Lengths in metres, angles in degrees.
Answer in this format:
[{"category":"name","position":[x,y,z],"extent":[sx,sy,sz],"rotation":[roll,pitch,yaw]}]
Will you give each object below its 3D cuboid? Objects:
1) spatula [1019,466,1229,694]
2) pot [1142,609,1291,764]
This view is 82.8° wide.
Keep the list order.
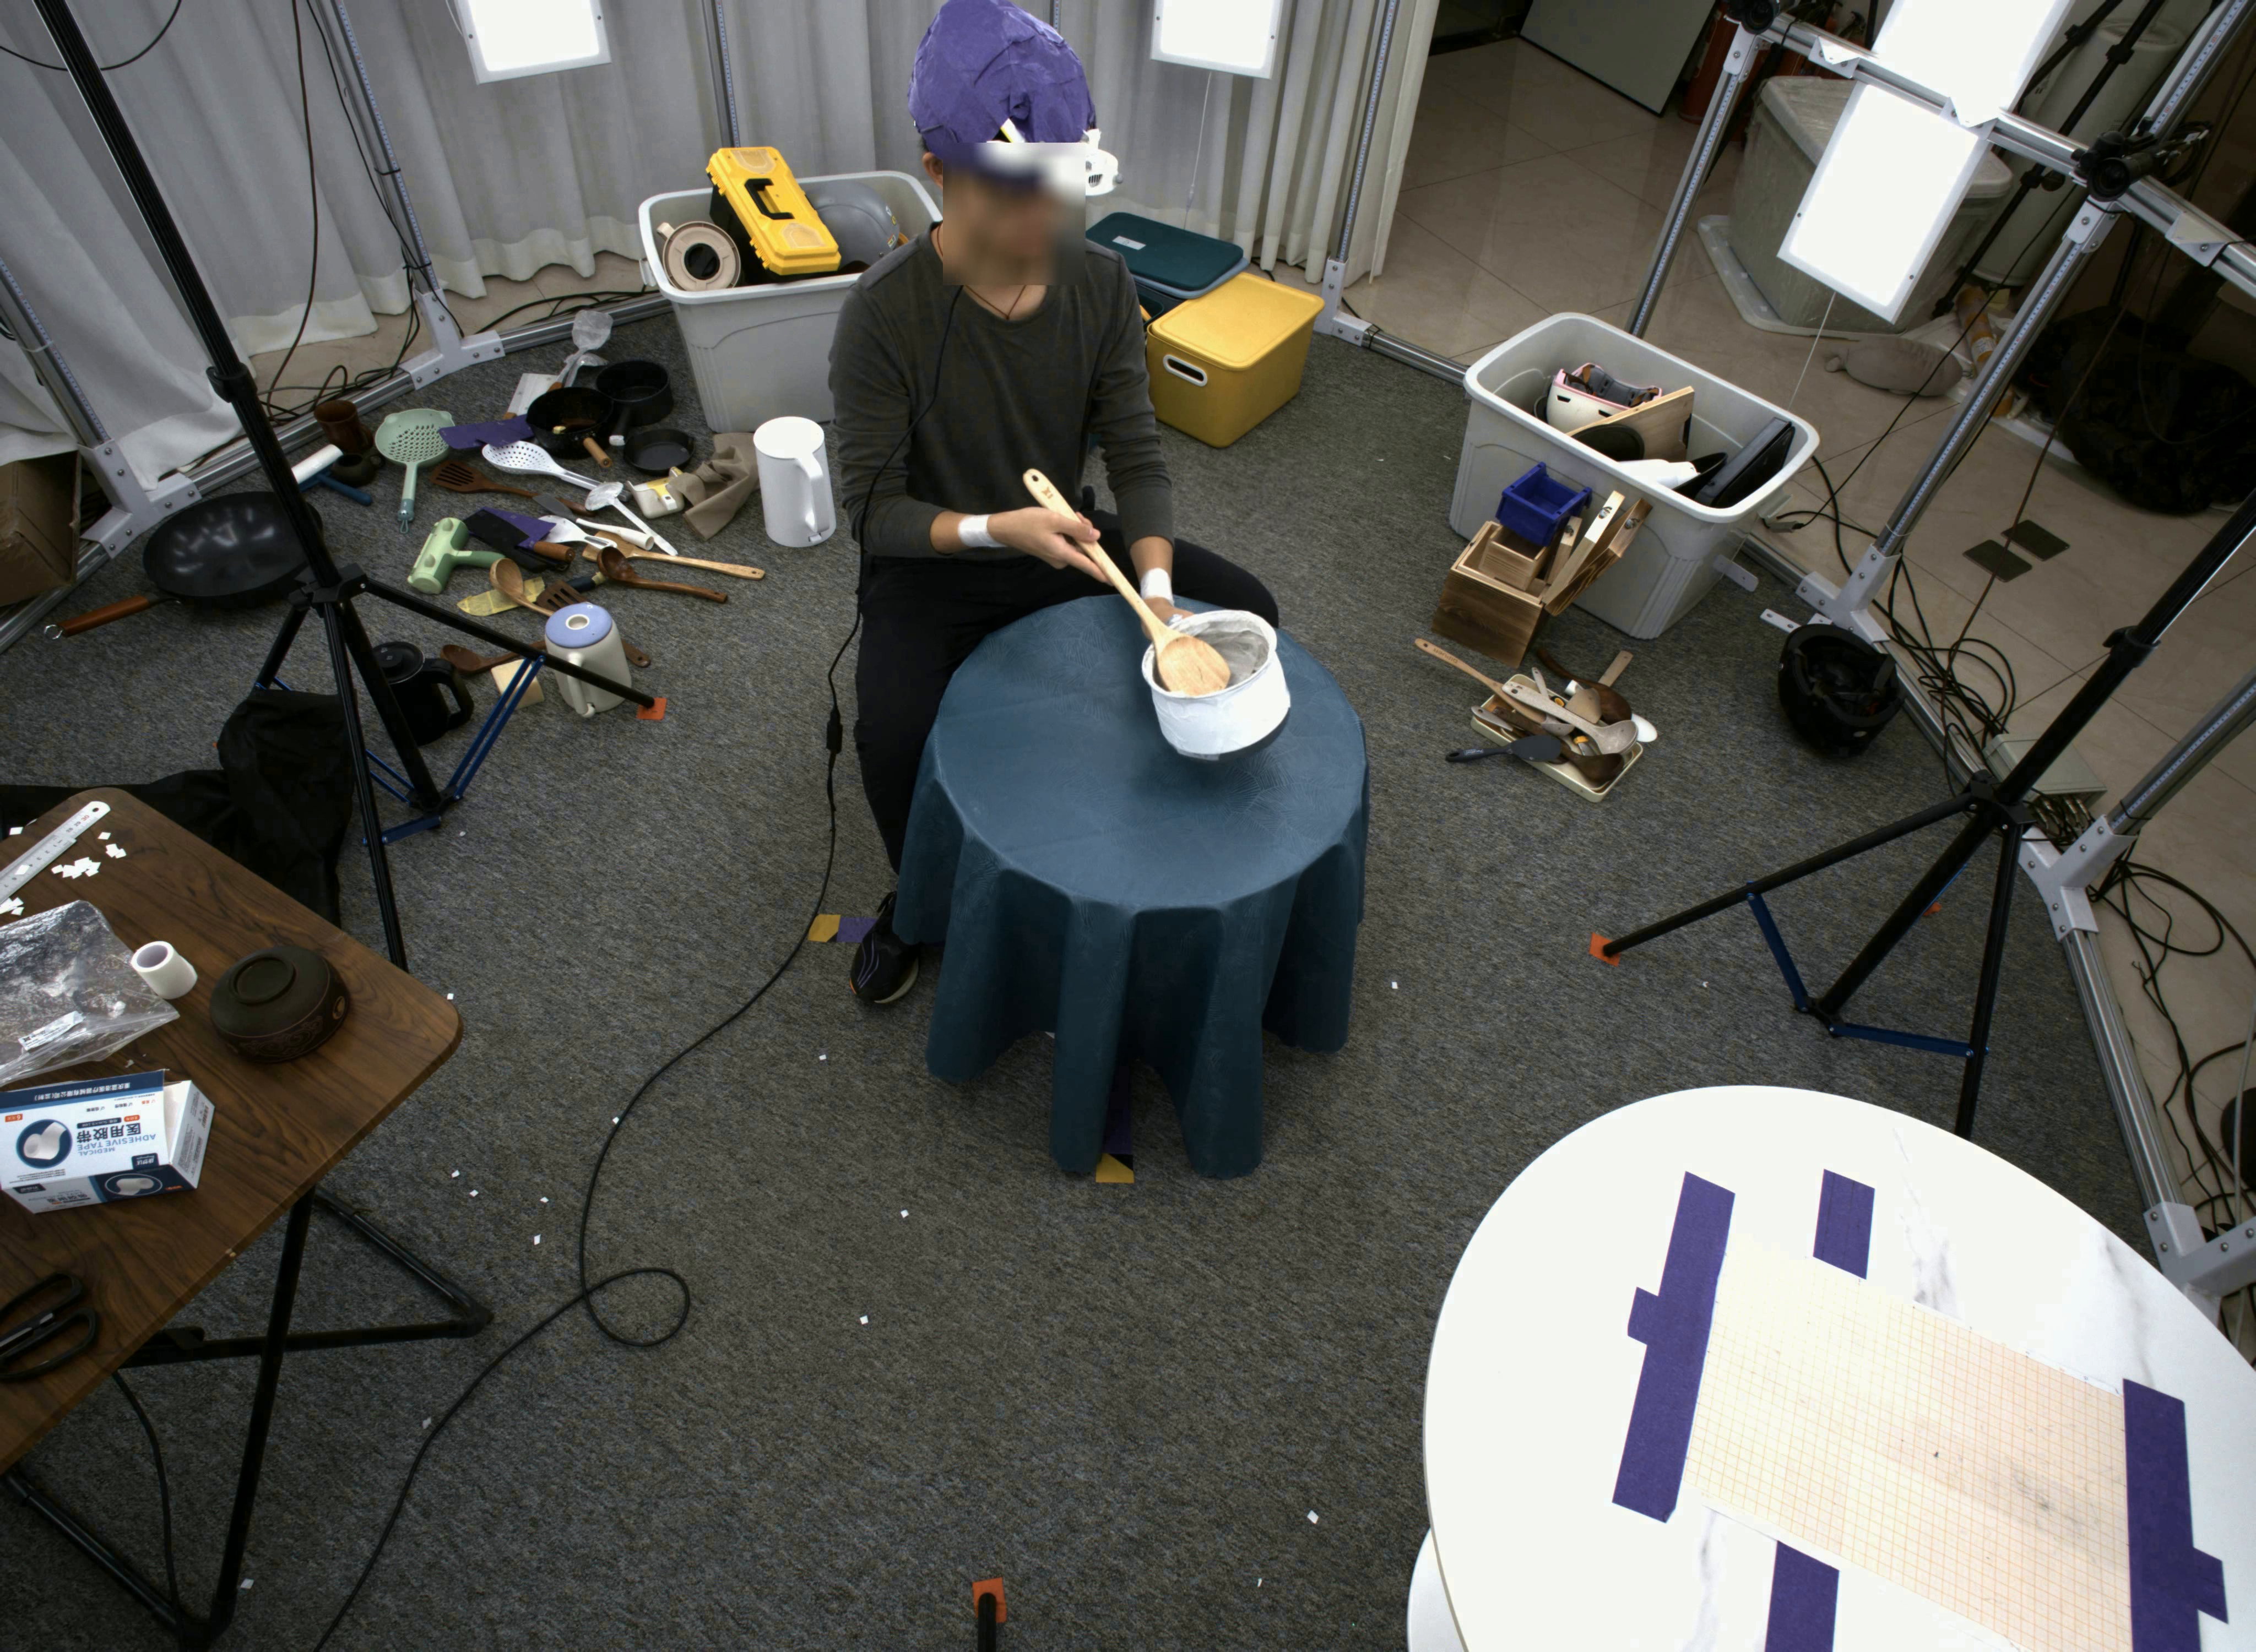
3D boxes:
[{"category":"spatula","position":[-0.015,-0.316,1.679],"extent":[0.097,0.018,0.391],"rotation":[-40,90,-26]},{"category":"pot","position":[0.107,-0.194,1.697],"extent":[0.179,0.133,0.239],"rotation":[-27,42,-9]}]
